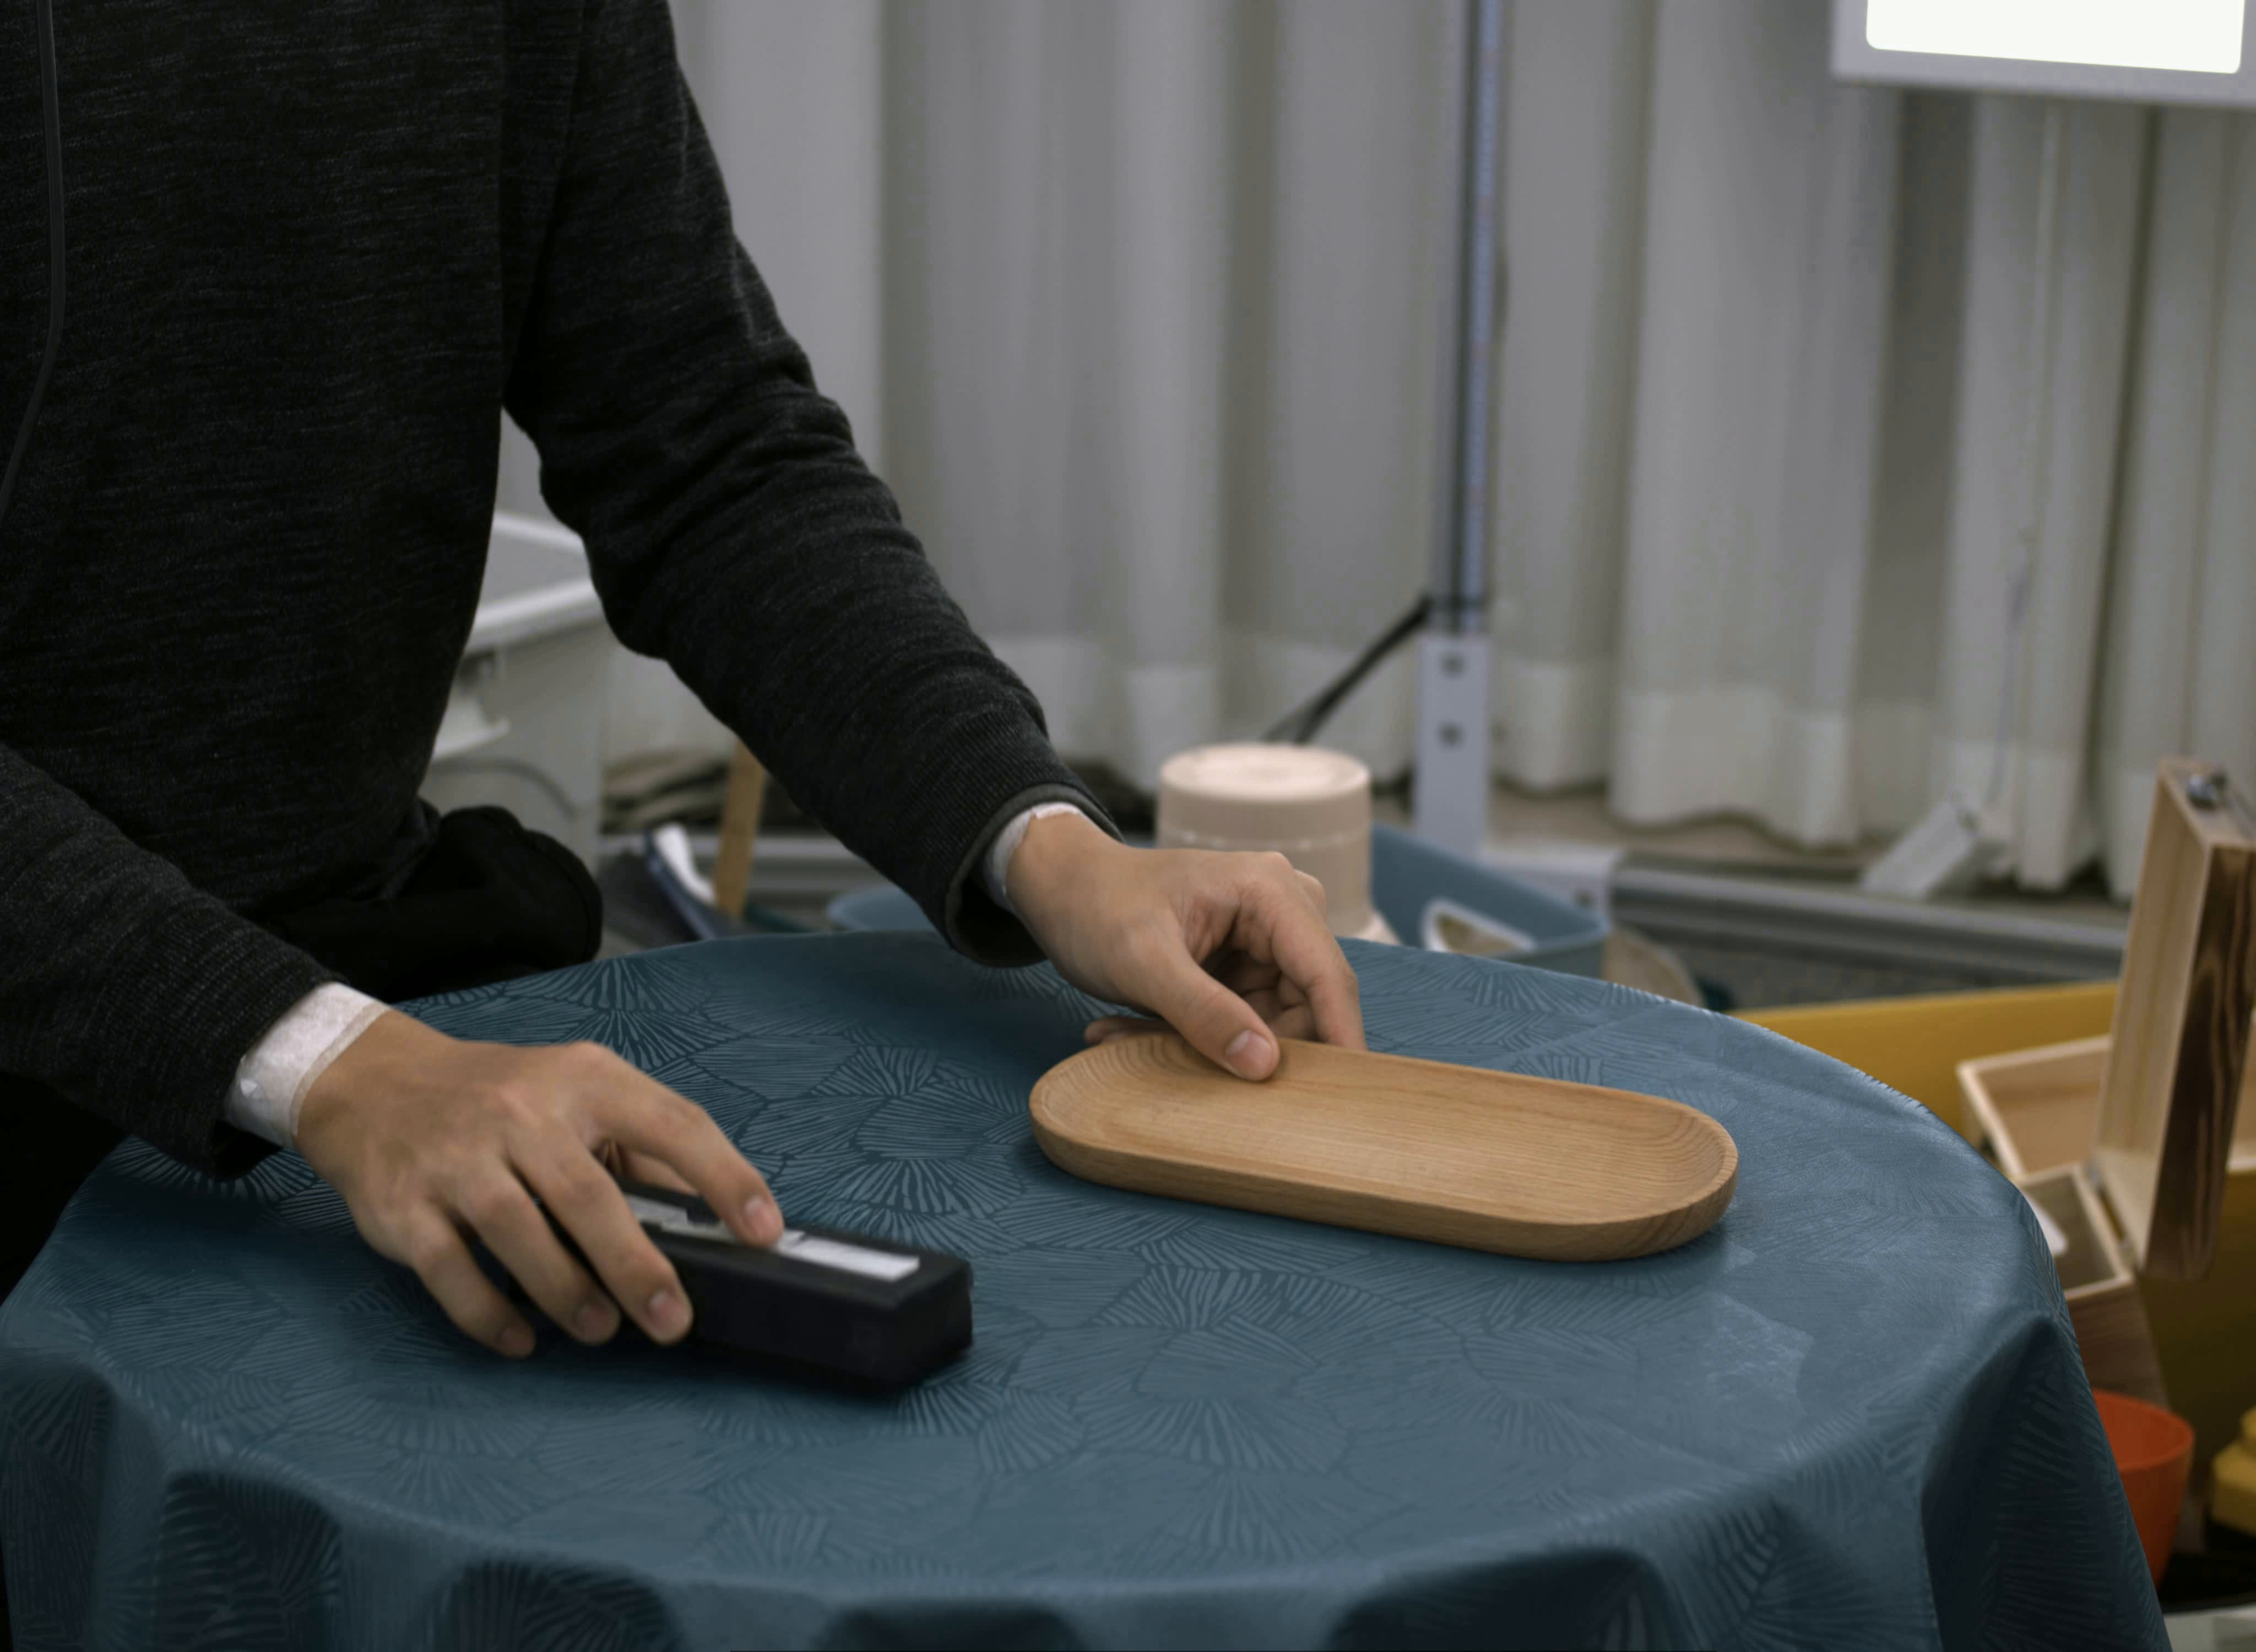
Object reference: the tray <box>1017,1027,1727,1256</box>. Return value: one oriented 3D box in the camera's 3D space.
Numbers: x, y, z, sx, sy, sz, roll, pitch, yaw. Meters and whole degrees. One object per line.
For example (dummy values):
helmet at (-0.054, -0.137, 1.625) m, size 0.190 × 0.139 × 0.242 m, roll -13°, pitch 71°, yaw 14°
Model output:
tray at (0.074, 0.097, 1.632) m, size 0.228 × 0.020 × 0.102 m, roll 6°, pitch 21°, yaw 25°

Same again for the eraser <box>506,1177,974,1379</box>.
eraser at (-0.109, 0.126, 1.481) m, size 0.124 × 0.030 × 0.053 m, roll 9°, pitch 13°, yaw 21°
